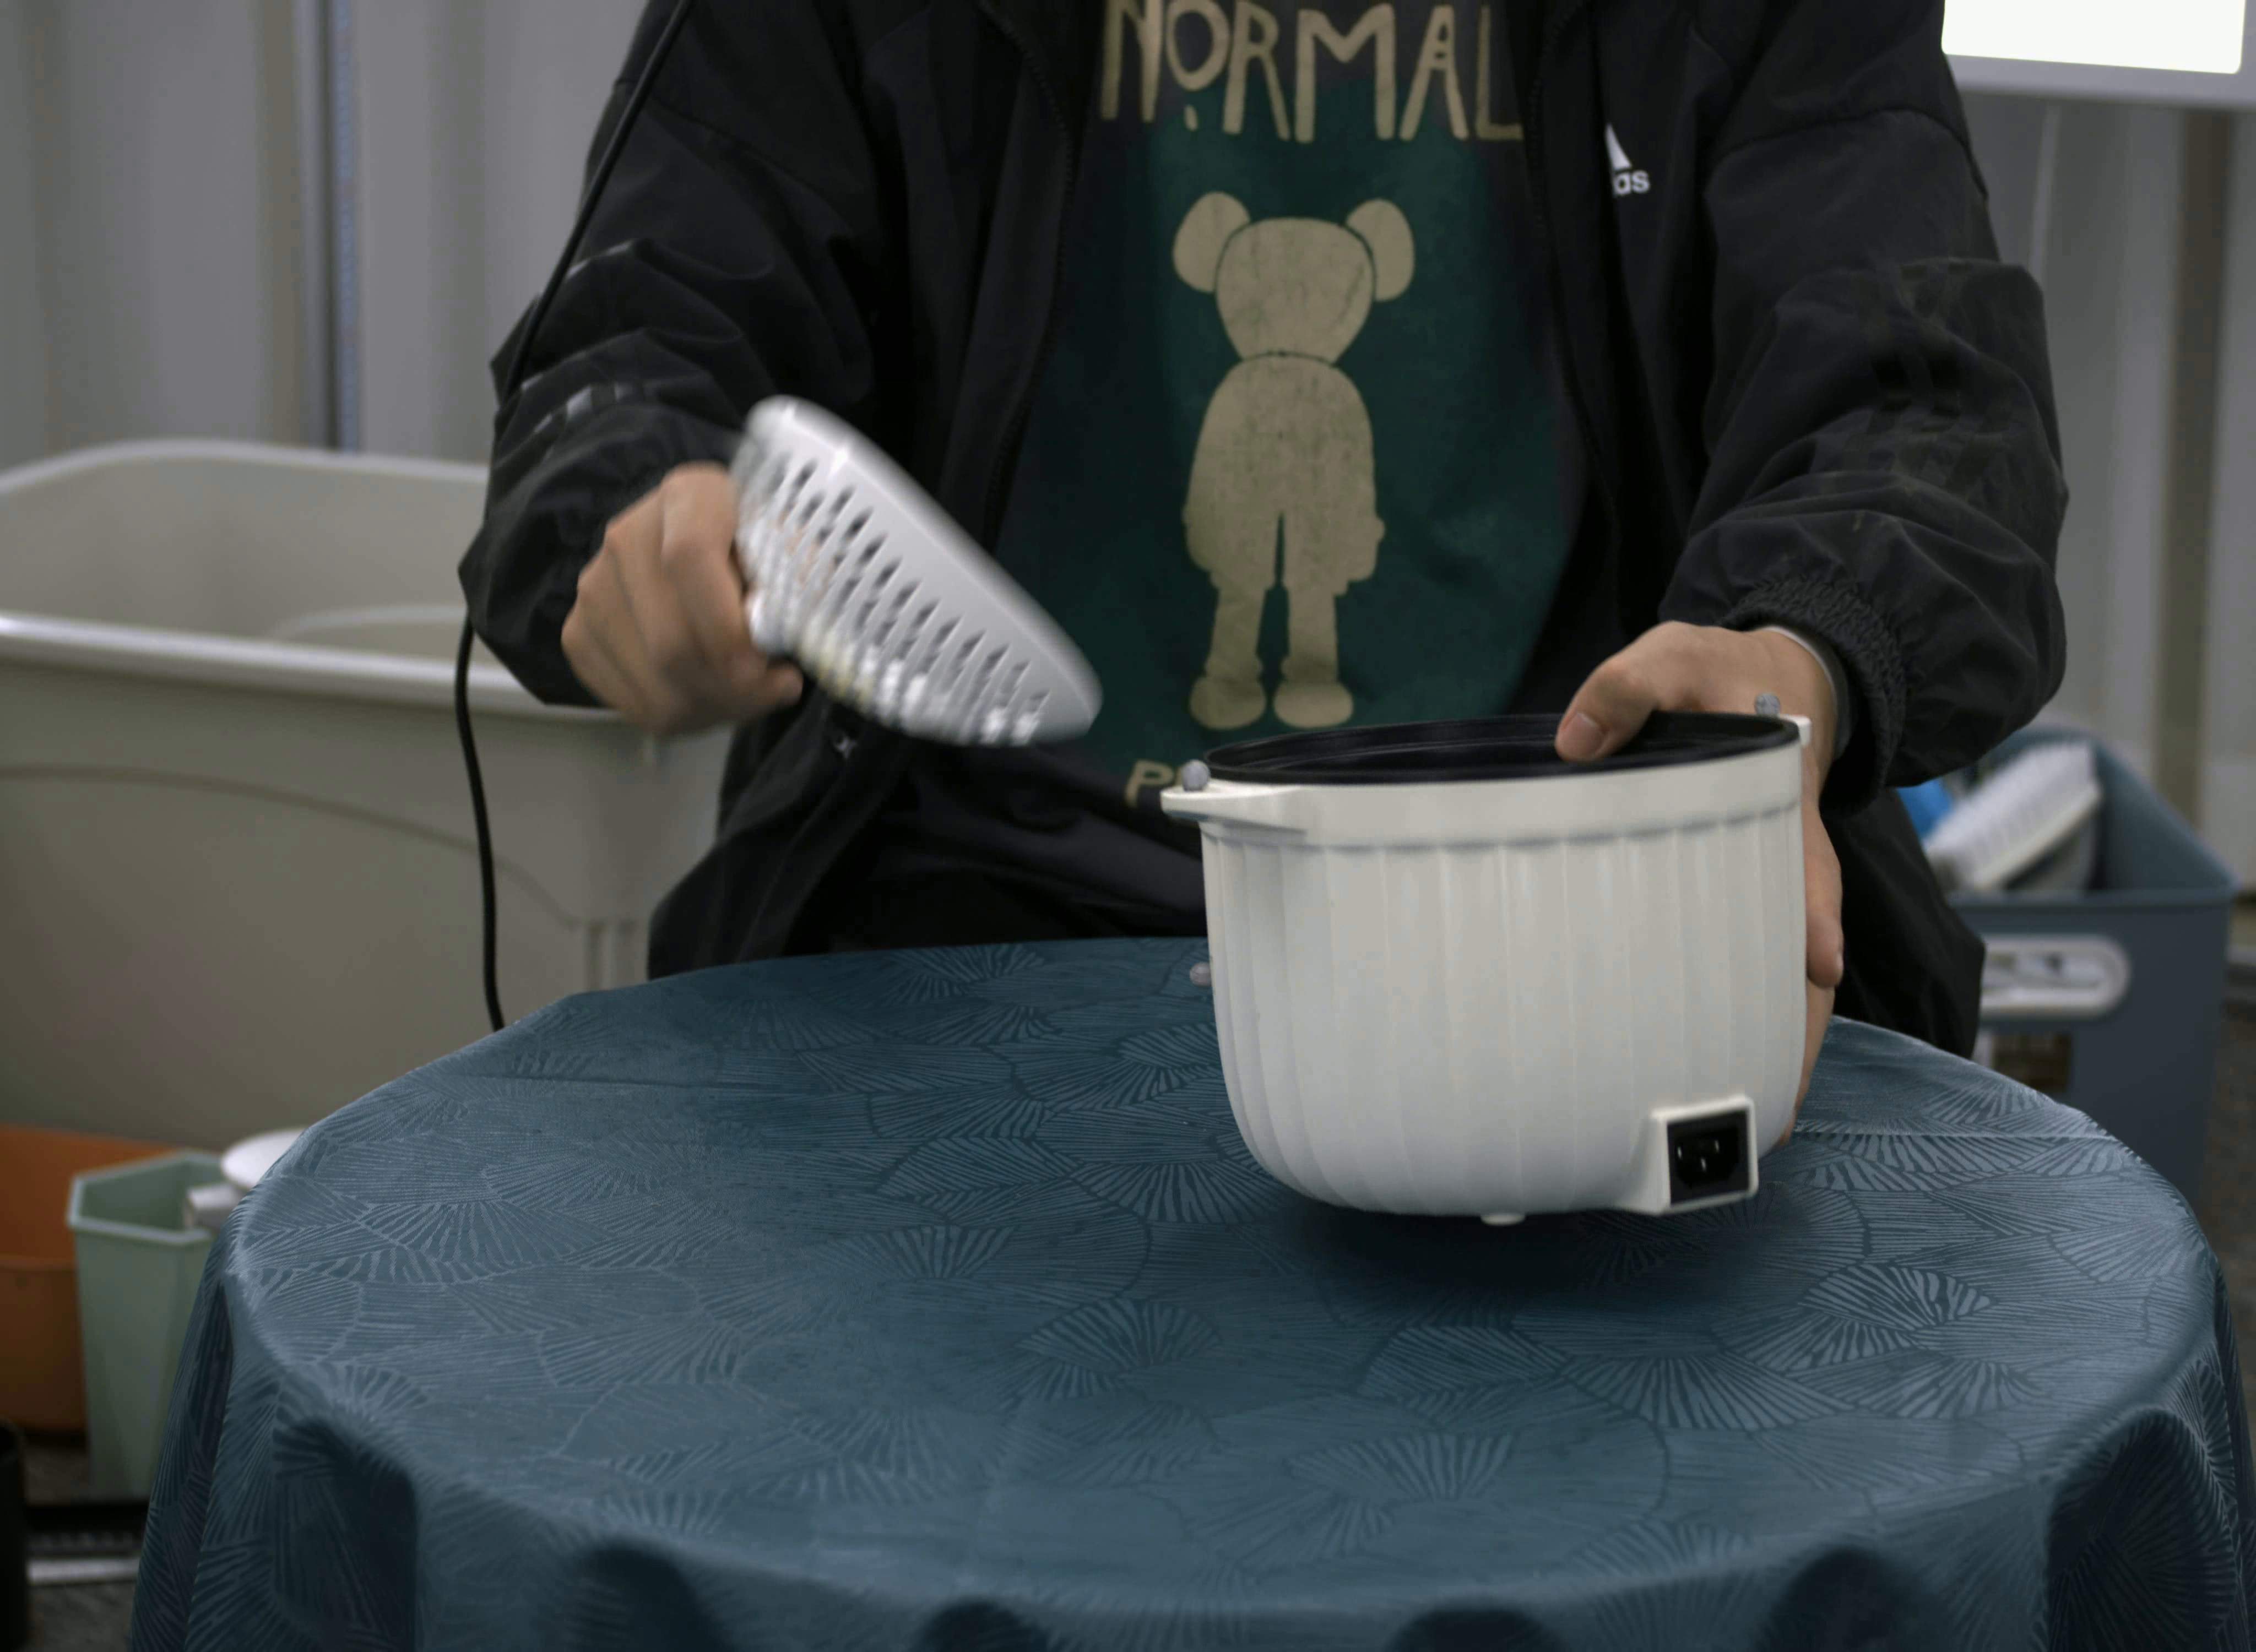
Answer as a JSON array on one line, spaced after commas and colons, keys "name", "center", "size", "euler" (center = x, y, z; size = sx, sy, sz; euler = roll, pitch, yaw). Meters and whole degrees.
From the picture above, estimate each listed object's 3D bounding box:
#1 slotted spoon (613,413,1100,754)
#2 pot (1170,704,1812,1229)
[{"name": "slotted spoon", "center": [-0.105, -0.056, 1.630], "size": [0.050, 0.137, 0.346], "euler": [-49, 12, -10]}, {"name": "pot", "center": [0.110, 0.040, 1.582], "size": [0.242, 0.143, 0.188], "euler": [-6, 11, -36]}]
